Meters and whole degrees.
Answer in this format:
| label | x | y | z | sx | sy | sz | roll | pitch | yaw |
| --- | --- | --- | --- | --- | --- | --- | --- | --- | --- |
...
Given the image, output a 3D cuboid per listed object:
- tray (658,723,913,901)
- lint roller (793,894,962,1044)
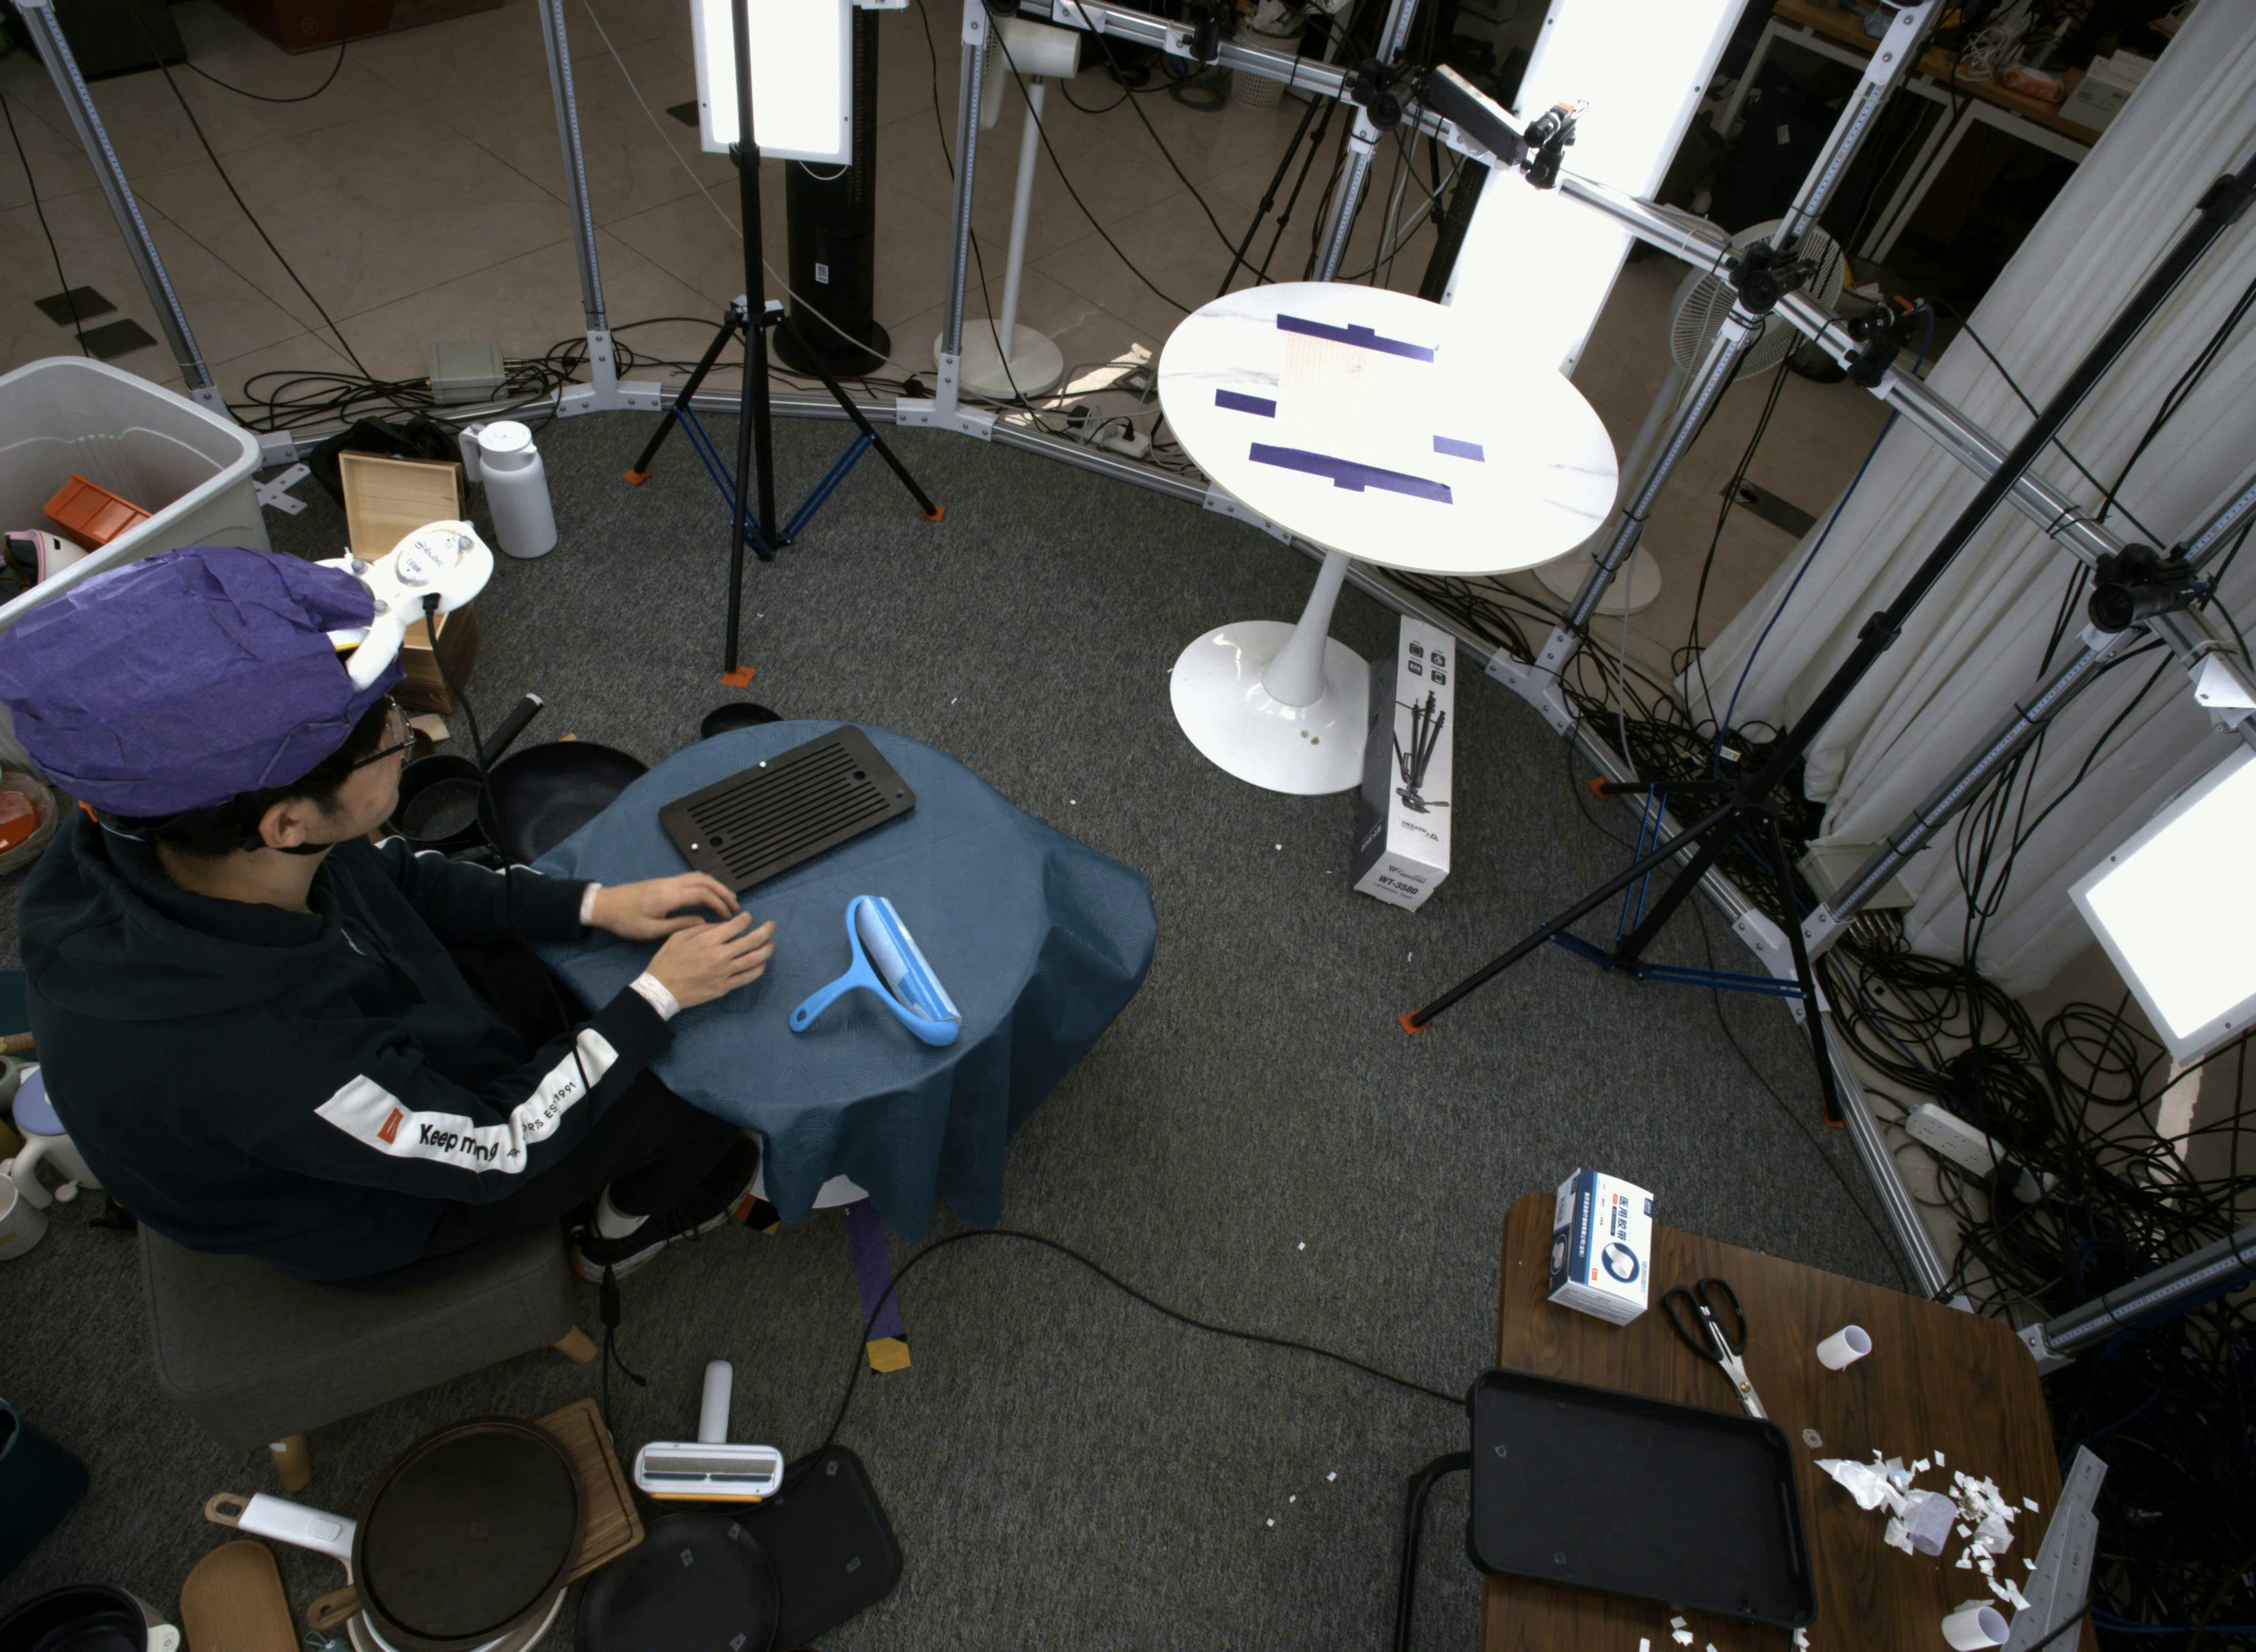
| label | x | y | z | sx | sy | sz | roll | pitch | yaw |
| --- | --- | --- | --- | --- | --- | --- | --- | --- | --- |
| tray | -0.454 | -0.024 | 1.728 | 0.307 | 0.019 | 0.166 | -29 | 66 | -31 |
| lint roller | -0.322 | 0.193 | 1.576 | 0.181 | 0.069 | 0.224 | -25 | 66 | -30 |
